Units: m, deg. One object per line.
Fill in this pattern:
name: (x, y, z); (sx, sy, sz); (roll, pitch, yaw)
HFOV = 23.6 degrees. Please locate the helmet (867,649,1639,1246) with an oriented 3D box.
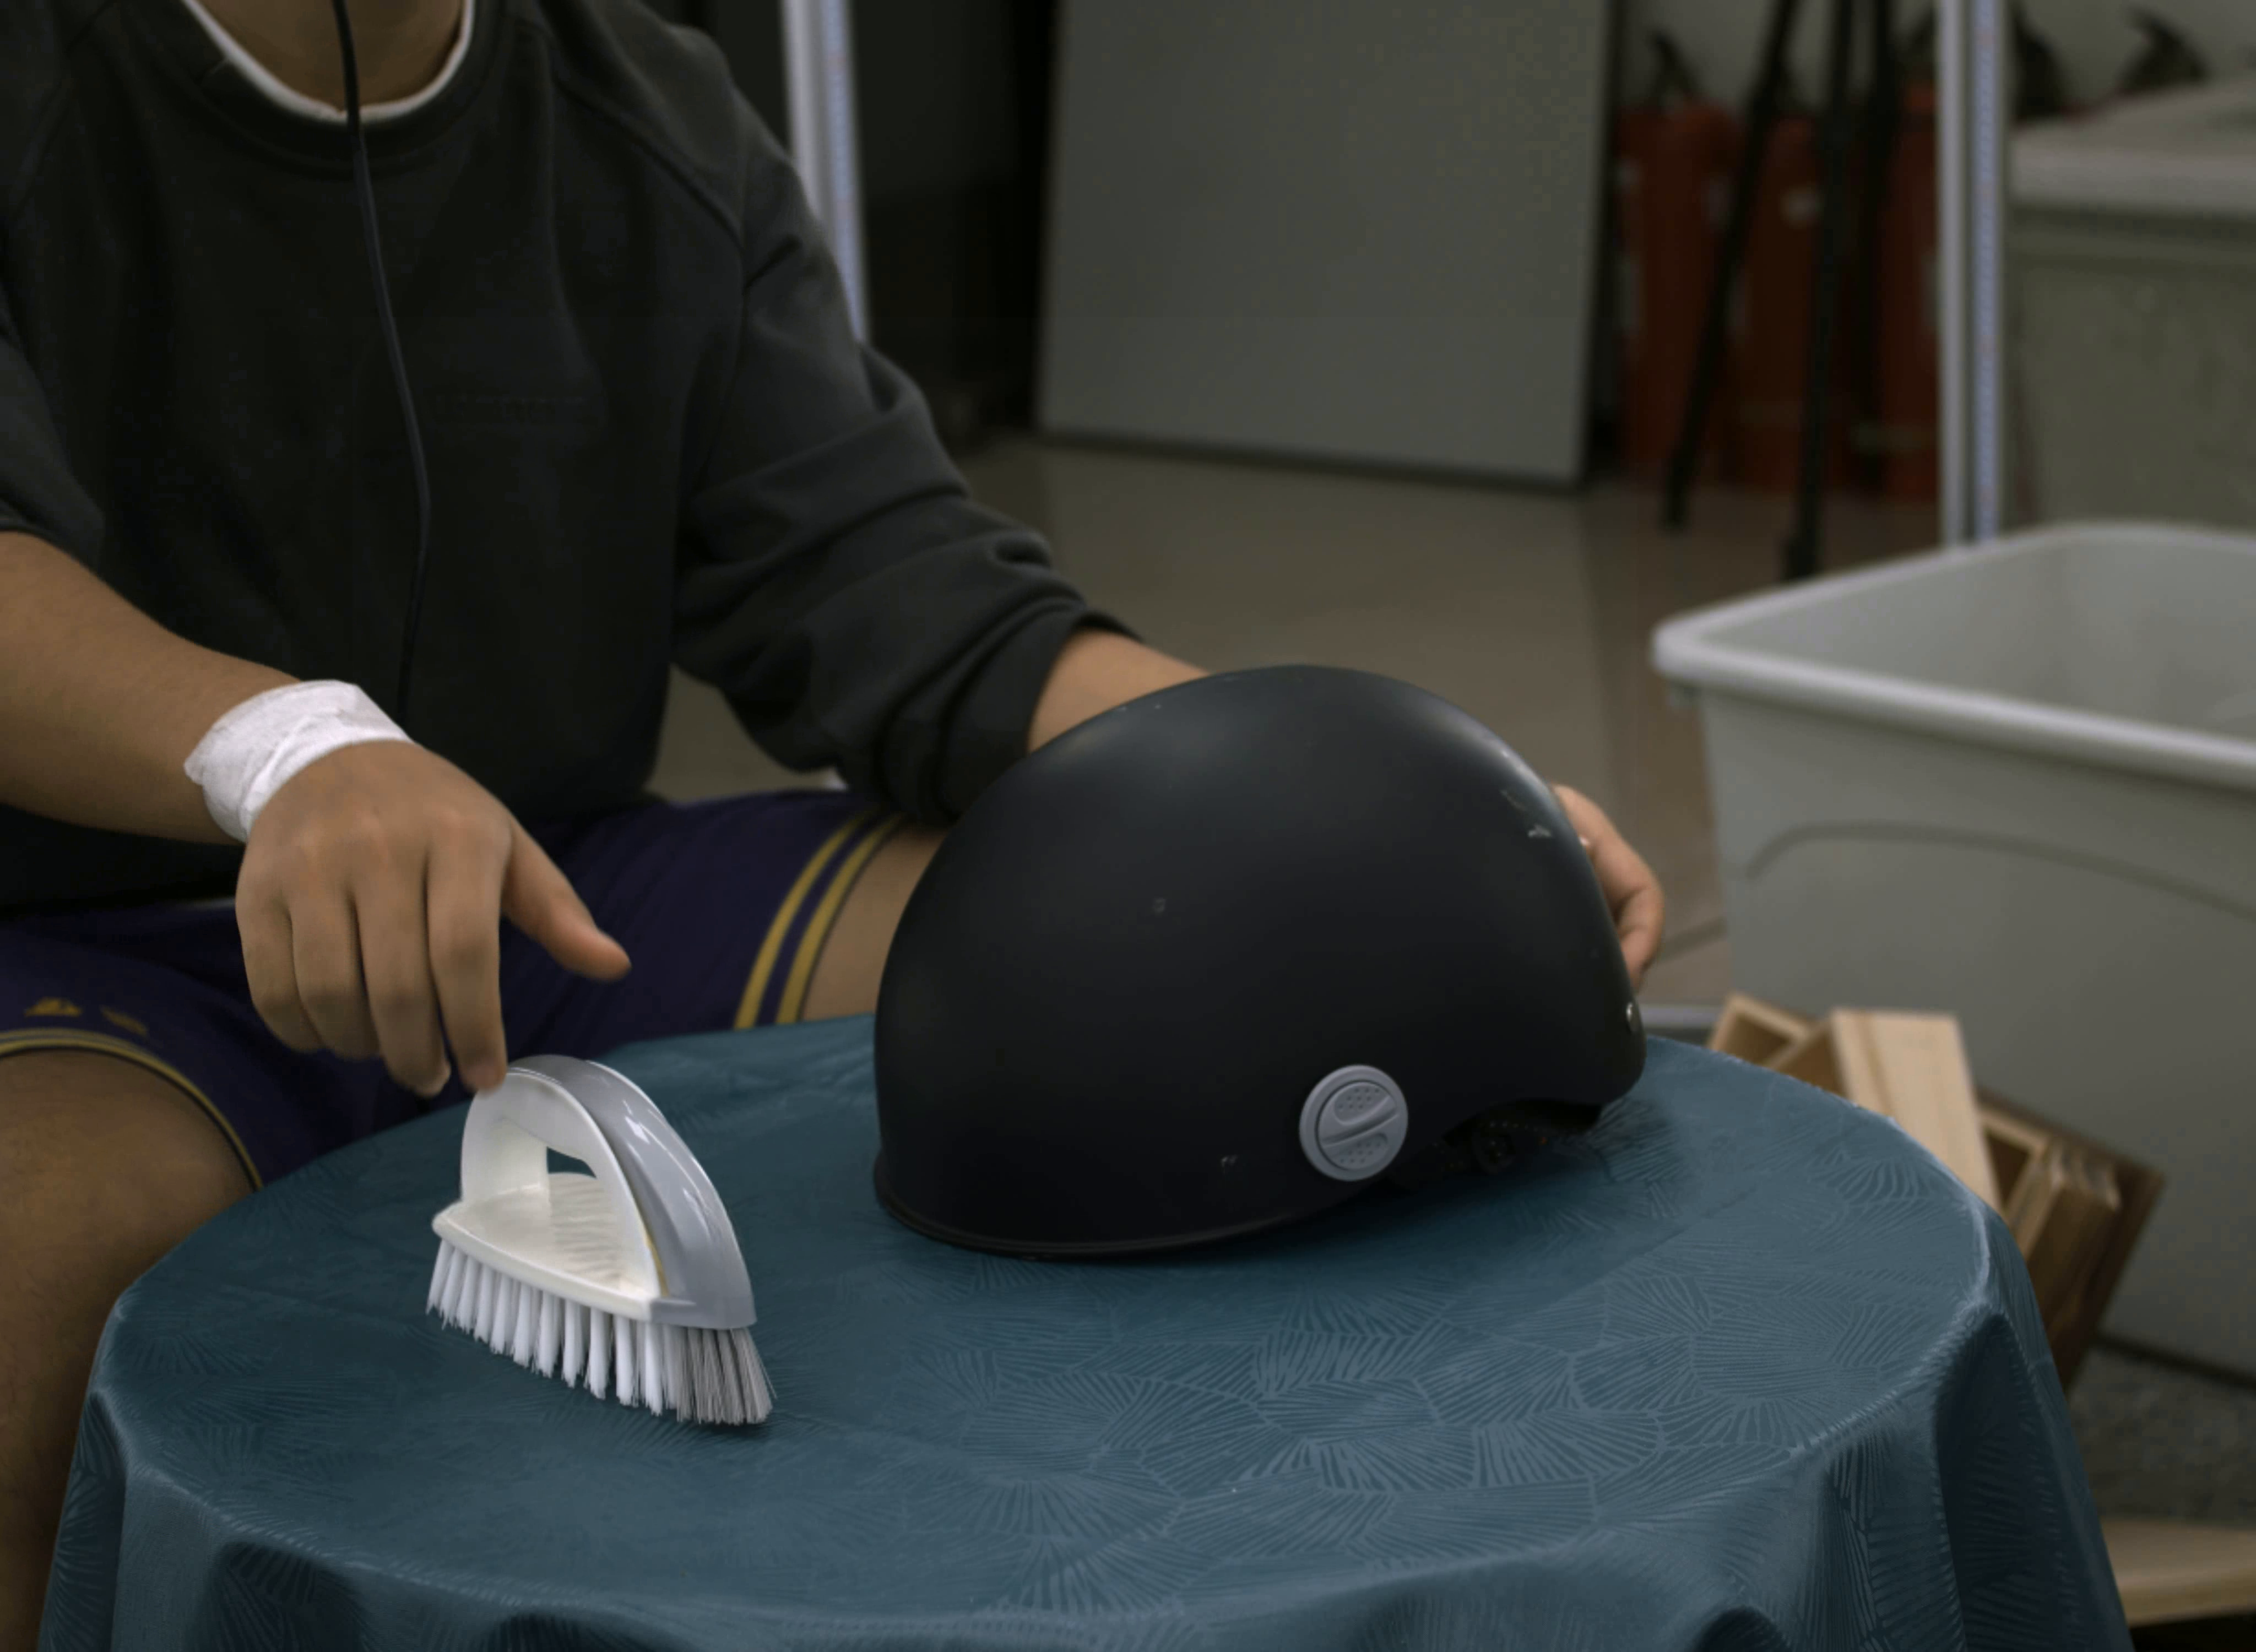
helmet: (0.036, 0.031, 1.789); (0.267, 0.168, 0.232); (-14, 16, -30)

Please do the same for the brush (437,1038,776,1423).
brush: (-0.154, 0.118, 1.632); (0.060, 0.095, 0.177); (-13, 18, -29)
